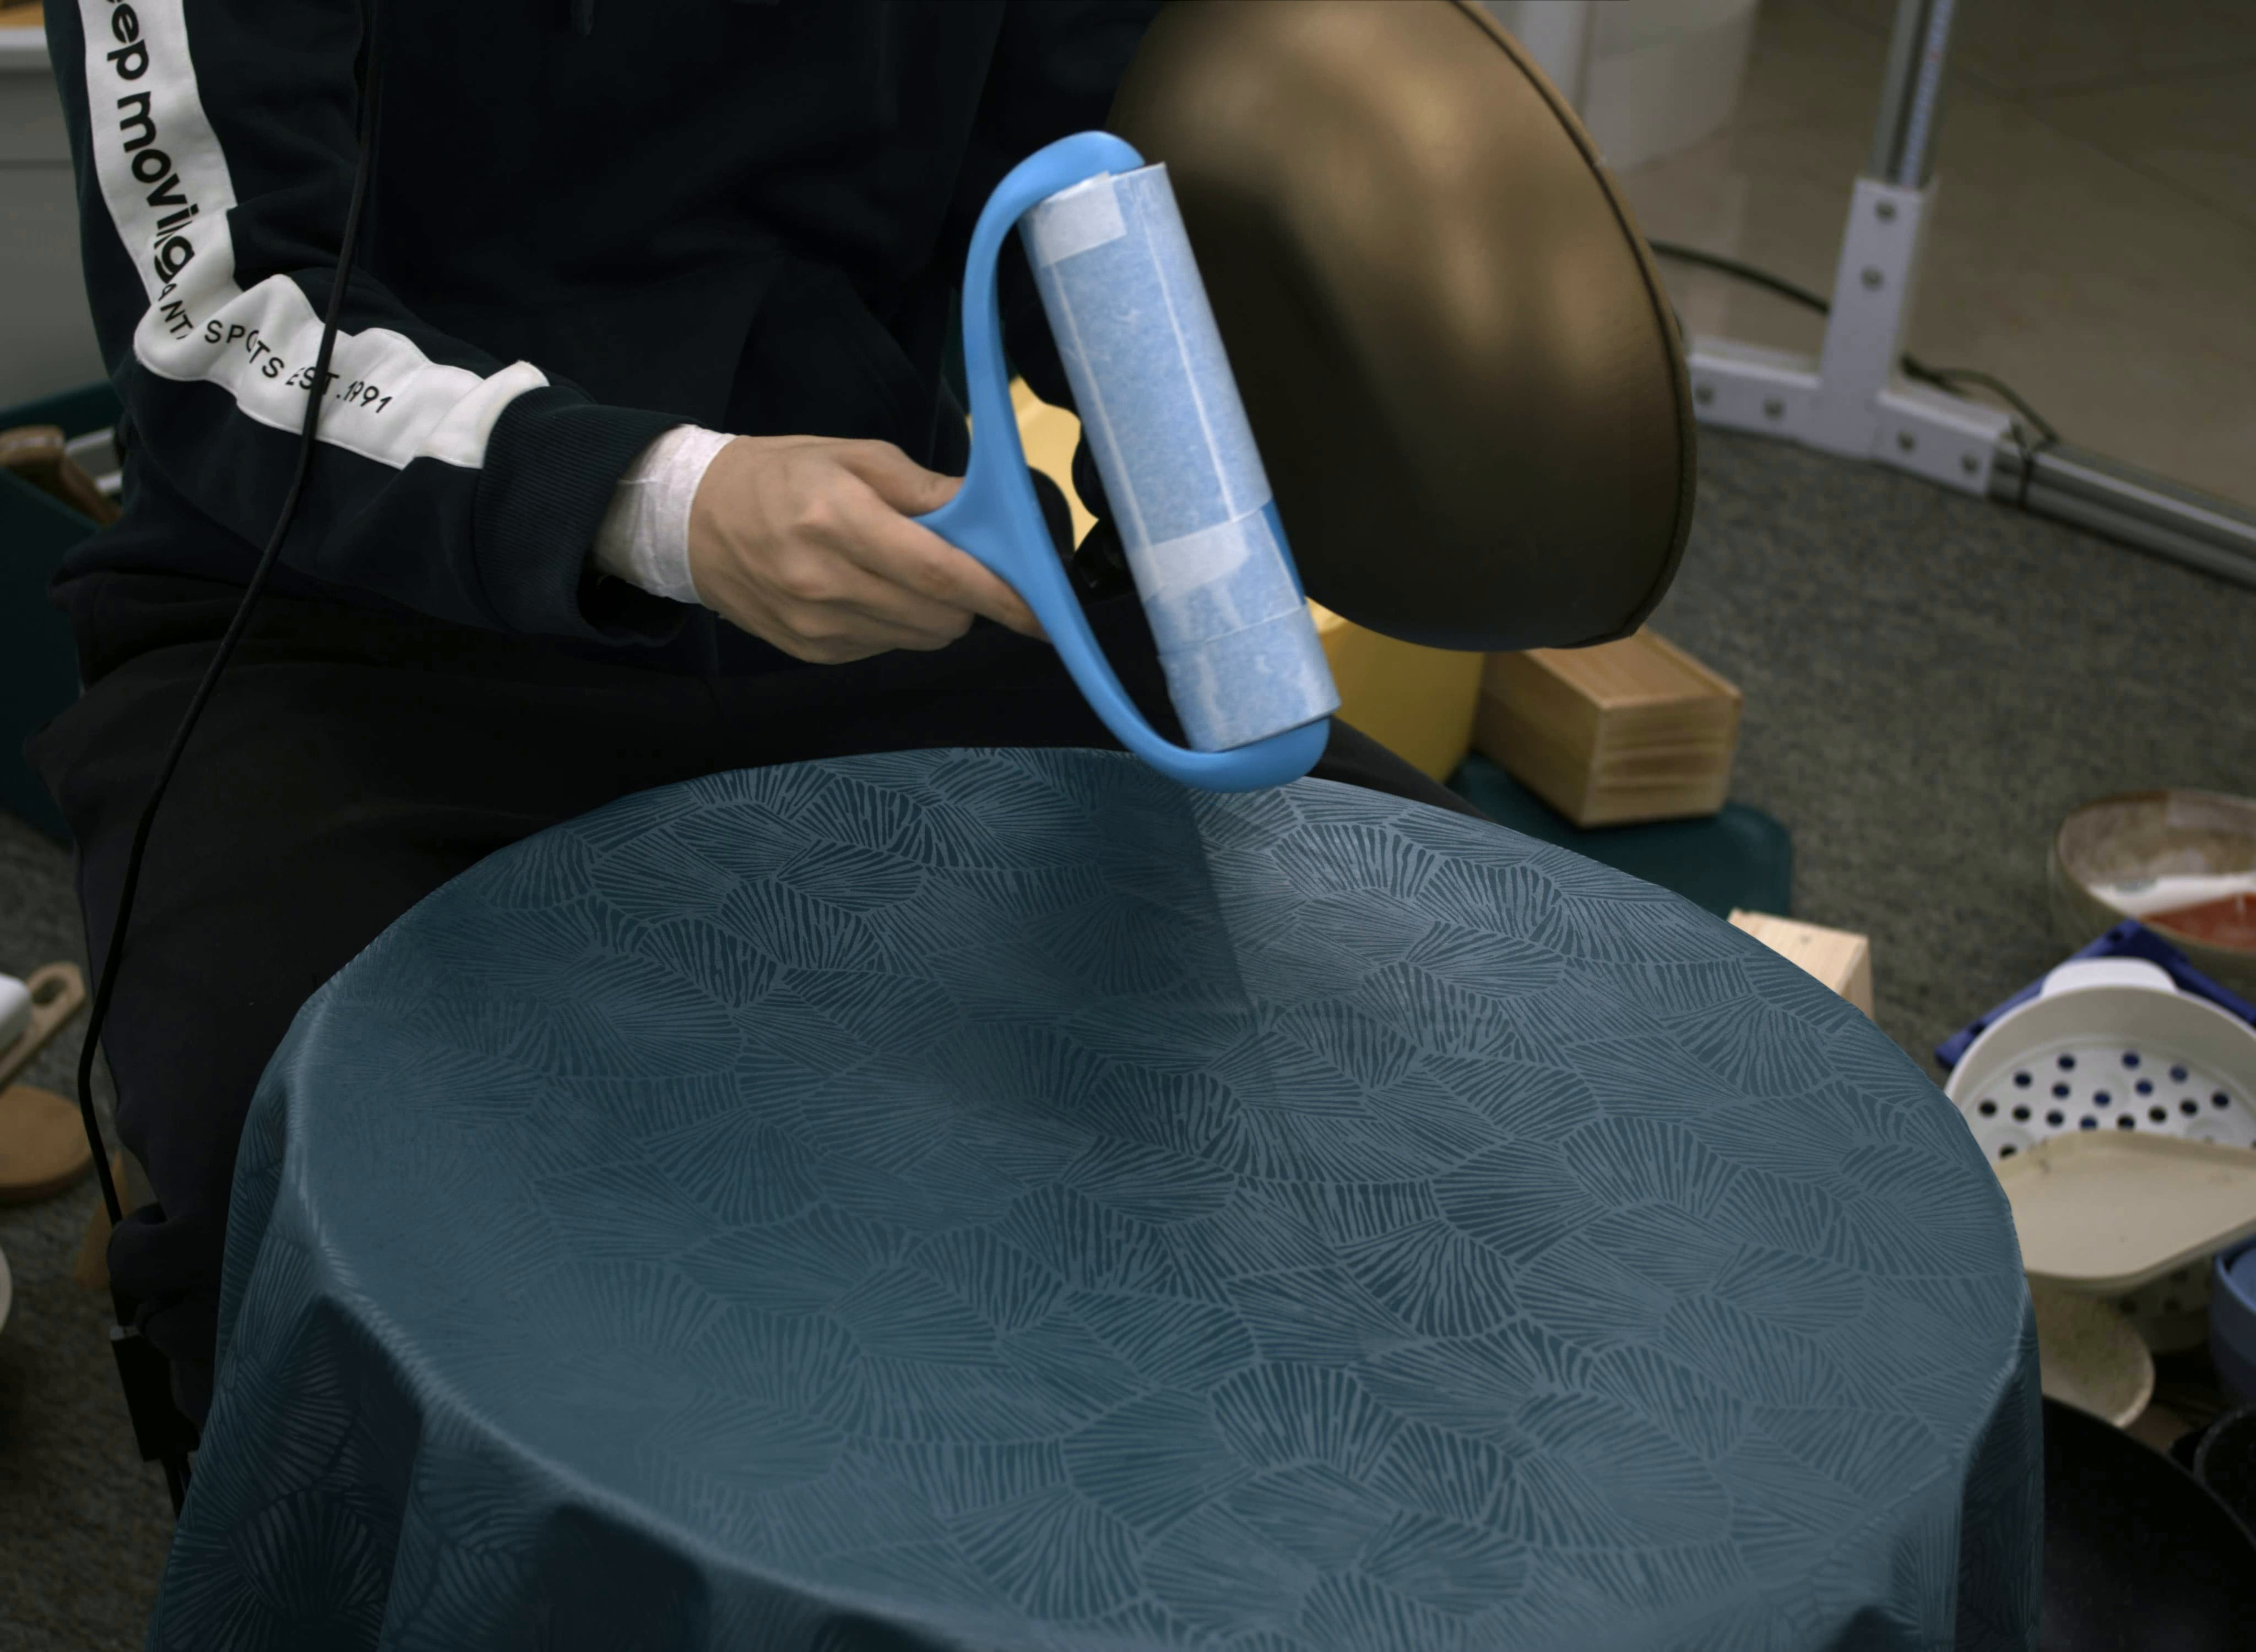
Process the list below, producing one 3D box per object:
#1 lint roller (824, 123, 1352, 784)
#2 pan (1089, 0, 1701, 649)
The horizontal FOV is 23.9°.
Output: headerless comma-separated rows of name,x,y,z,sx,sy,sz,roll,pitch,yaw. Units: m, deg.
lint roller,-0.034,-0.105,1.802,0.180,0.229,0.068,-22,3,23
pan,0.041,-0.147,1.946,0.086,0.463,0.289,-30,85,-28
